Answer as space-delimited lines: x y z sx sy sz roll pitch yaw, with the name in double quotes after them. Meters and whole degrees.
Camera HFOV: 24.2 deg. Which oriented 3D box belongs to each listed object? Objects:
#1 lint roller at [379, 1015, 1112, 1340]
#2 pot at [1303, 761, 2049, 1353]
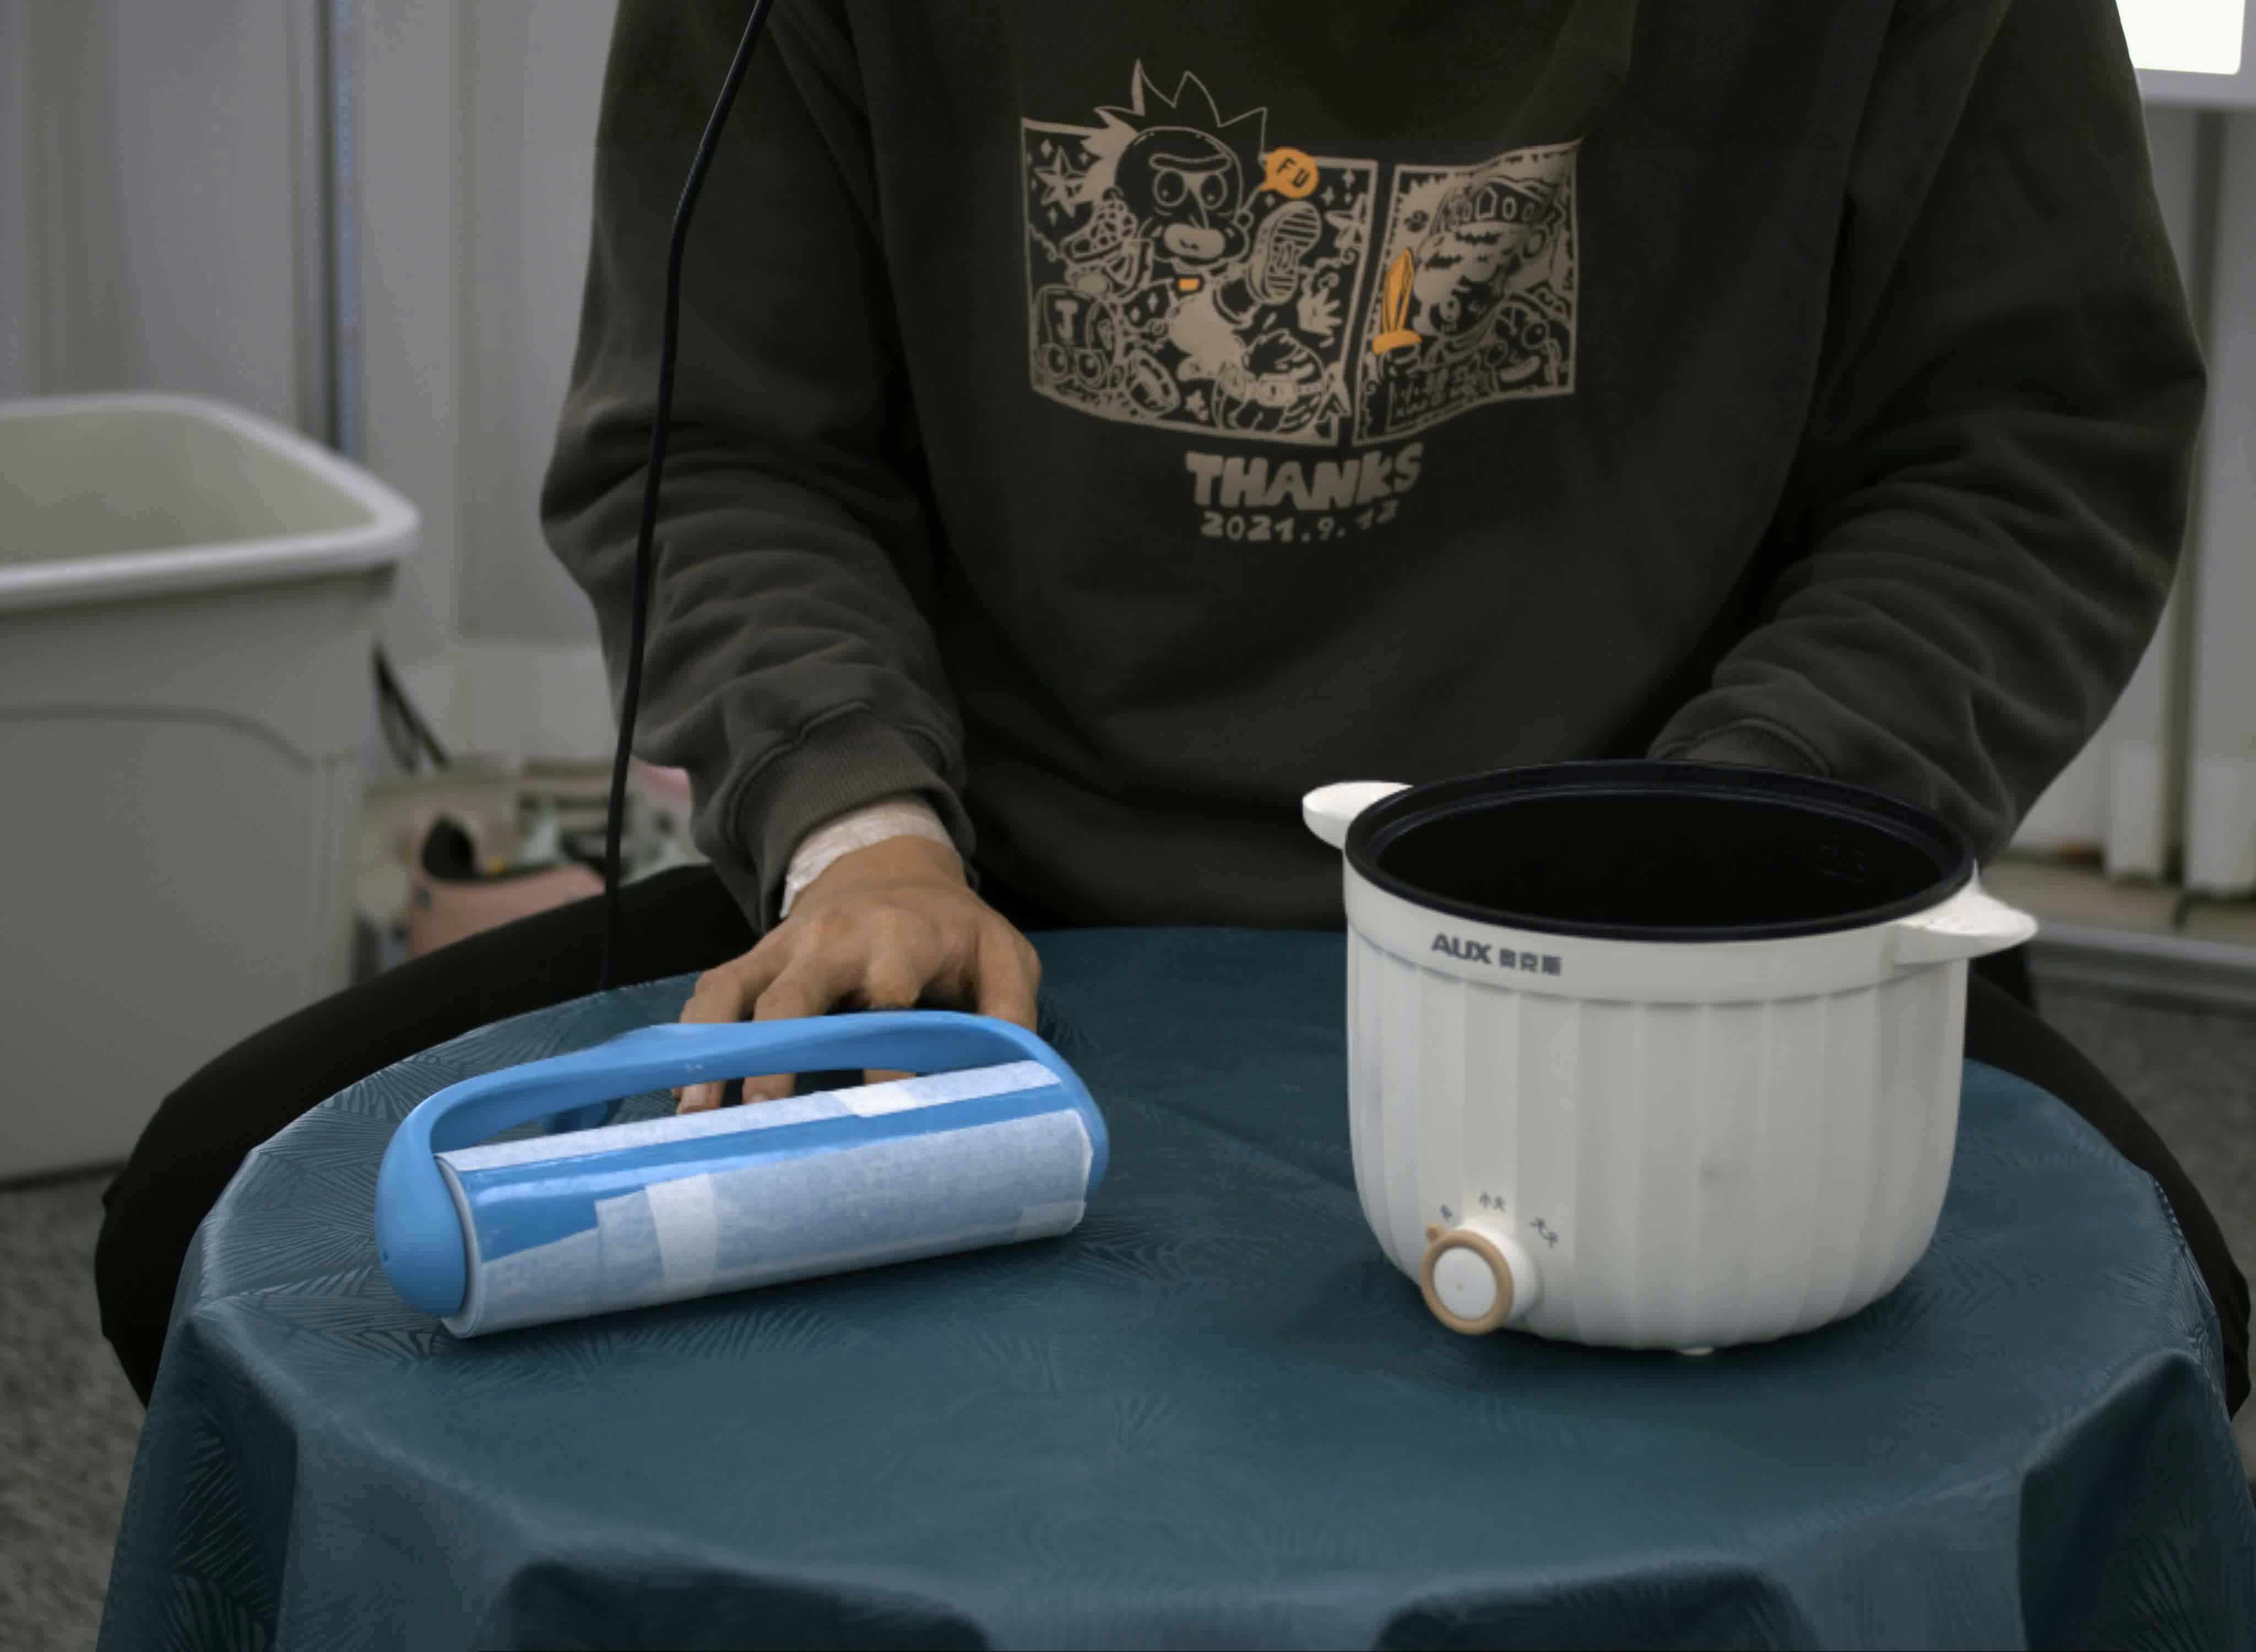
-0.138 0.092 1.590 0.230 0.068 0.178 -10 20 -29 "lint roller"
0.151 0.069 1.531 0.237 0.143 0.191 10 15 33 "pot"
